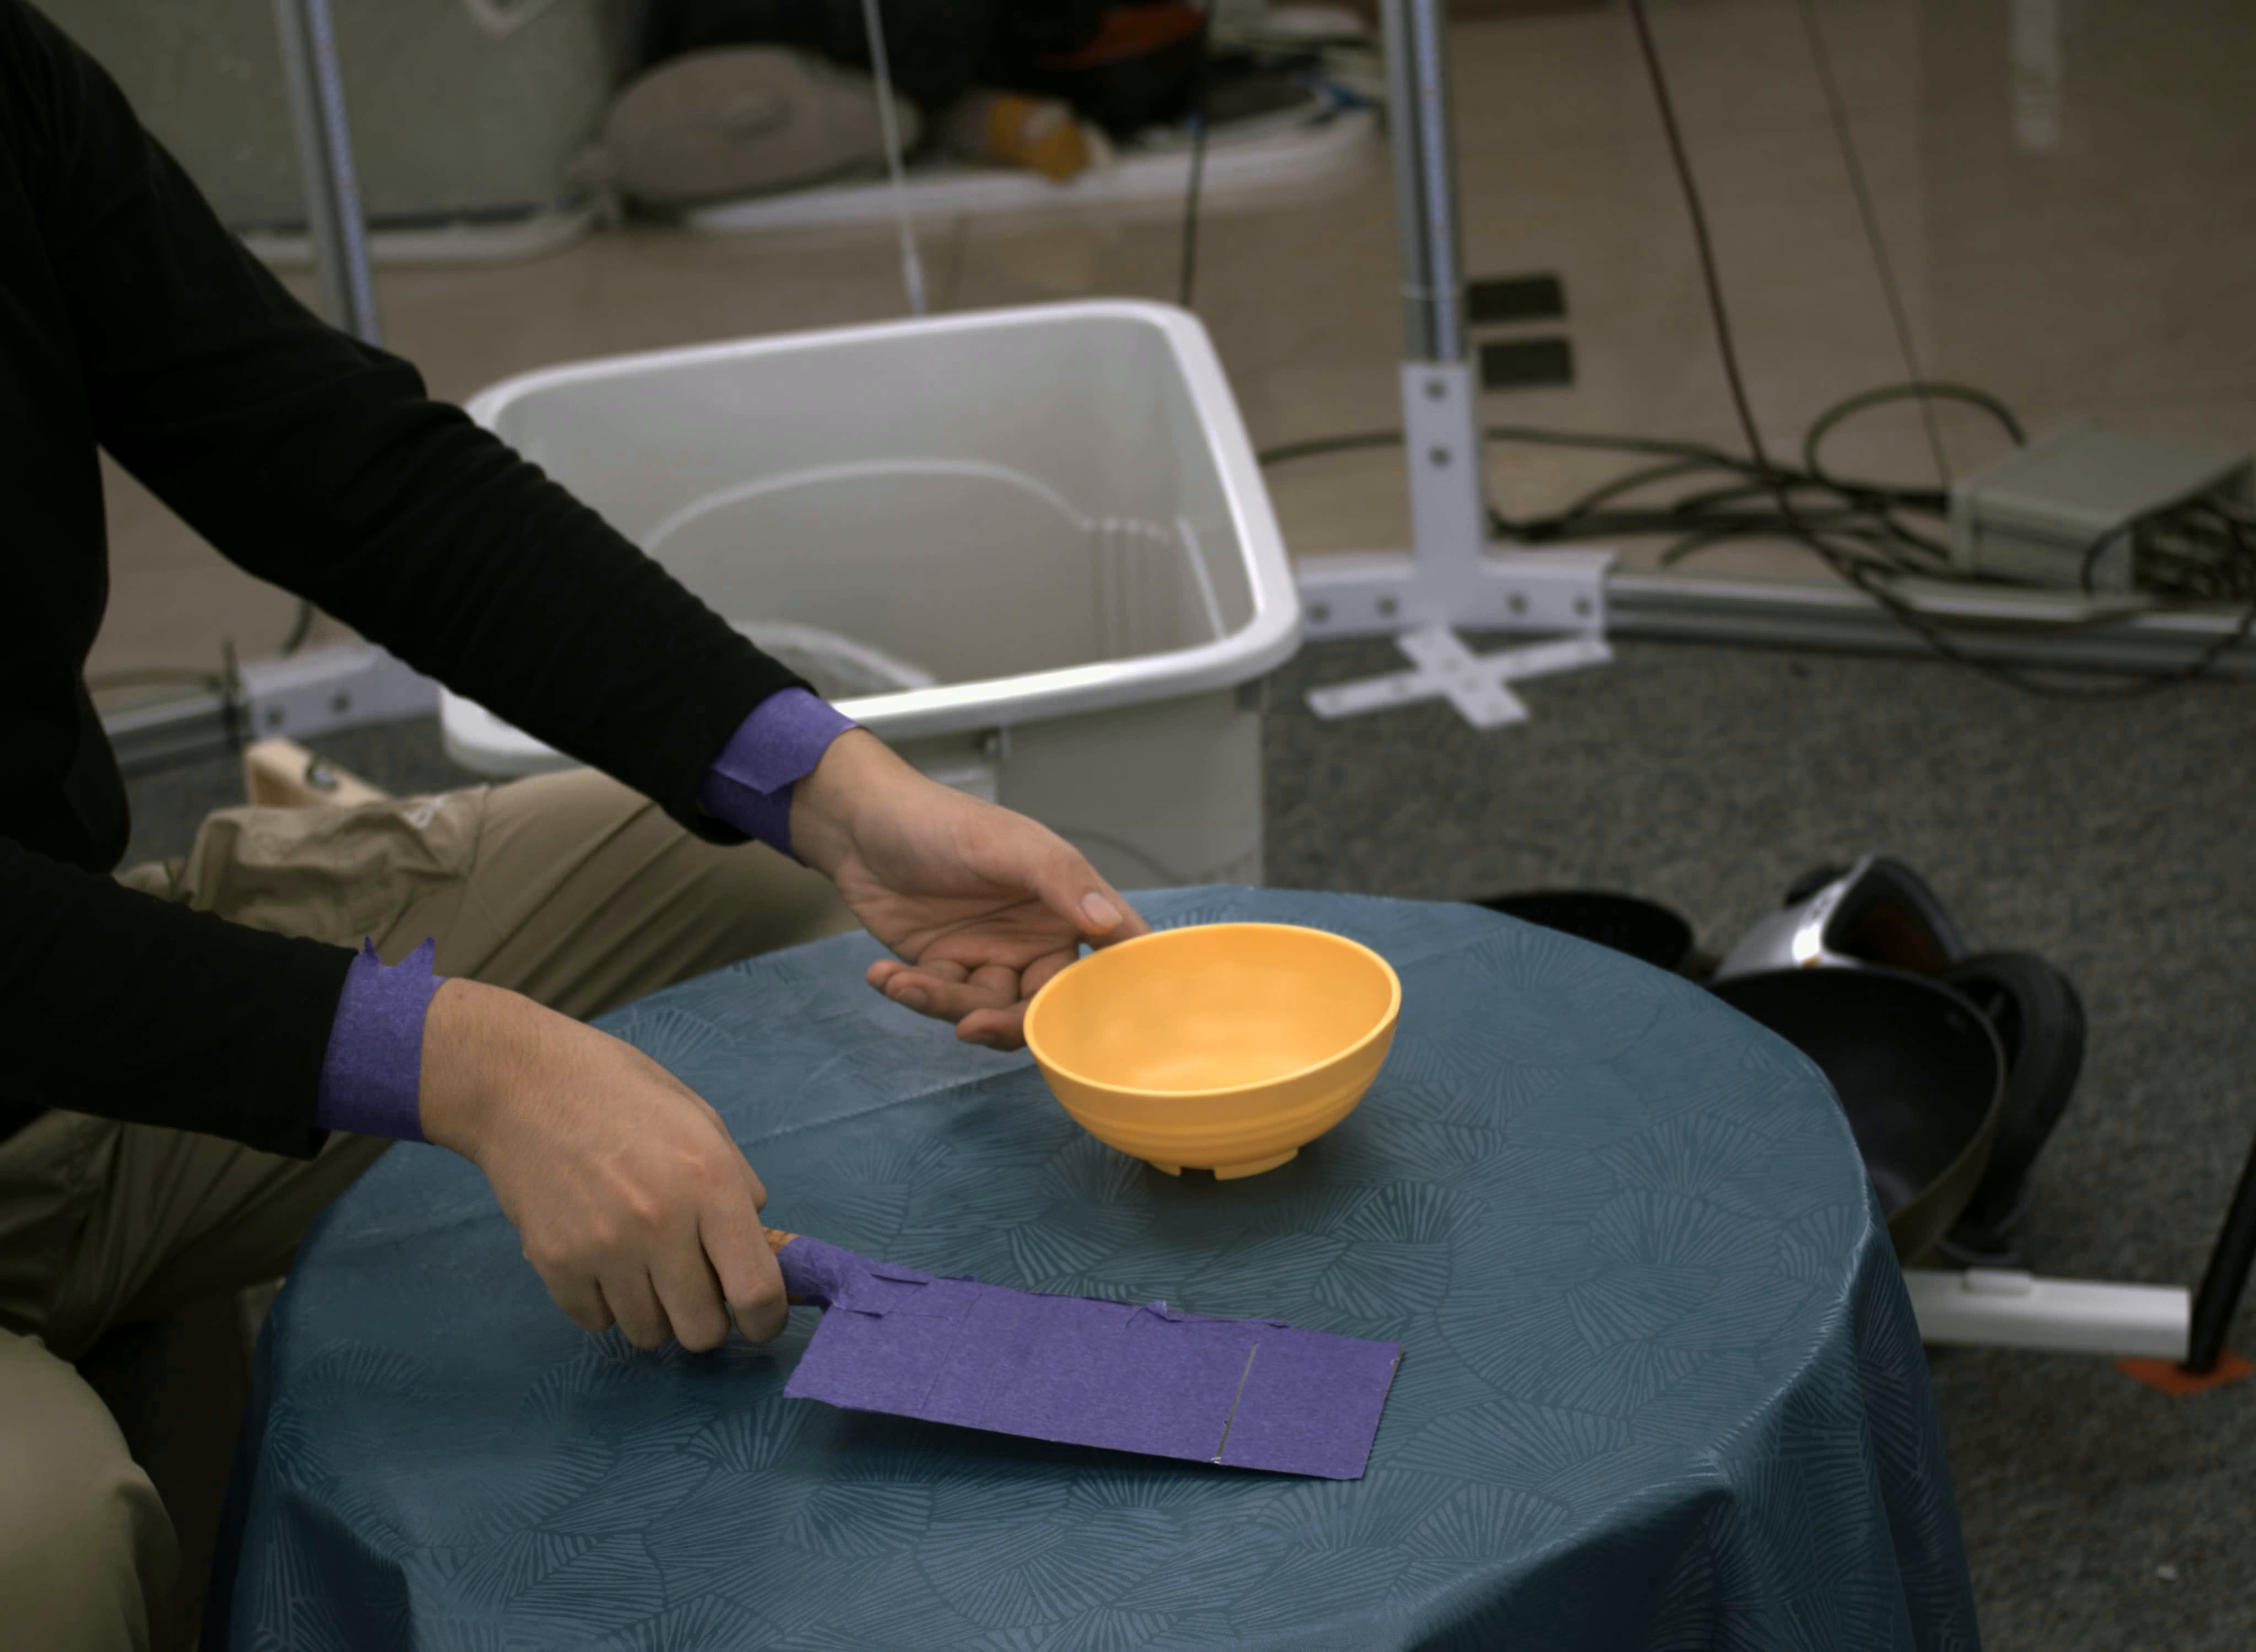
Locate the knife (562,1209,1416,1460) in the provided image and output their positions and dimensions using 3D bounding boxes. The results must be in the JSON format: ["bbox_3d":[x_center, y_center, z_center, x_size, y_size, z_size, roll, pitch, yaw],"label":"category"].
[{"bbox_3d":[-0.059,0.180,2.016,0.314,0.033,0.102,5,27,12],"label":"knife"}]

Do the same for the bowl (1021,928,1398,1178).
[{"bbox_3d":[0.033,0.094,2.165,0.145,0.061,0.143,-4,24,2],"label":"bowl"}]
